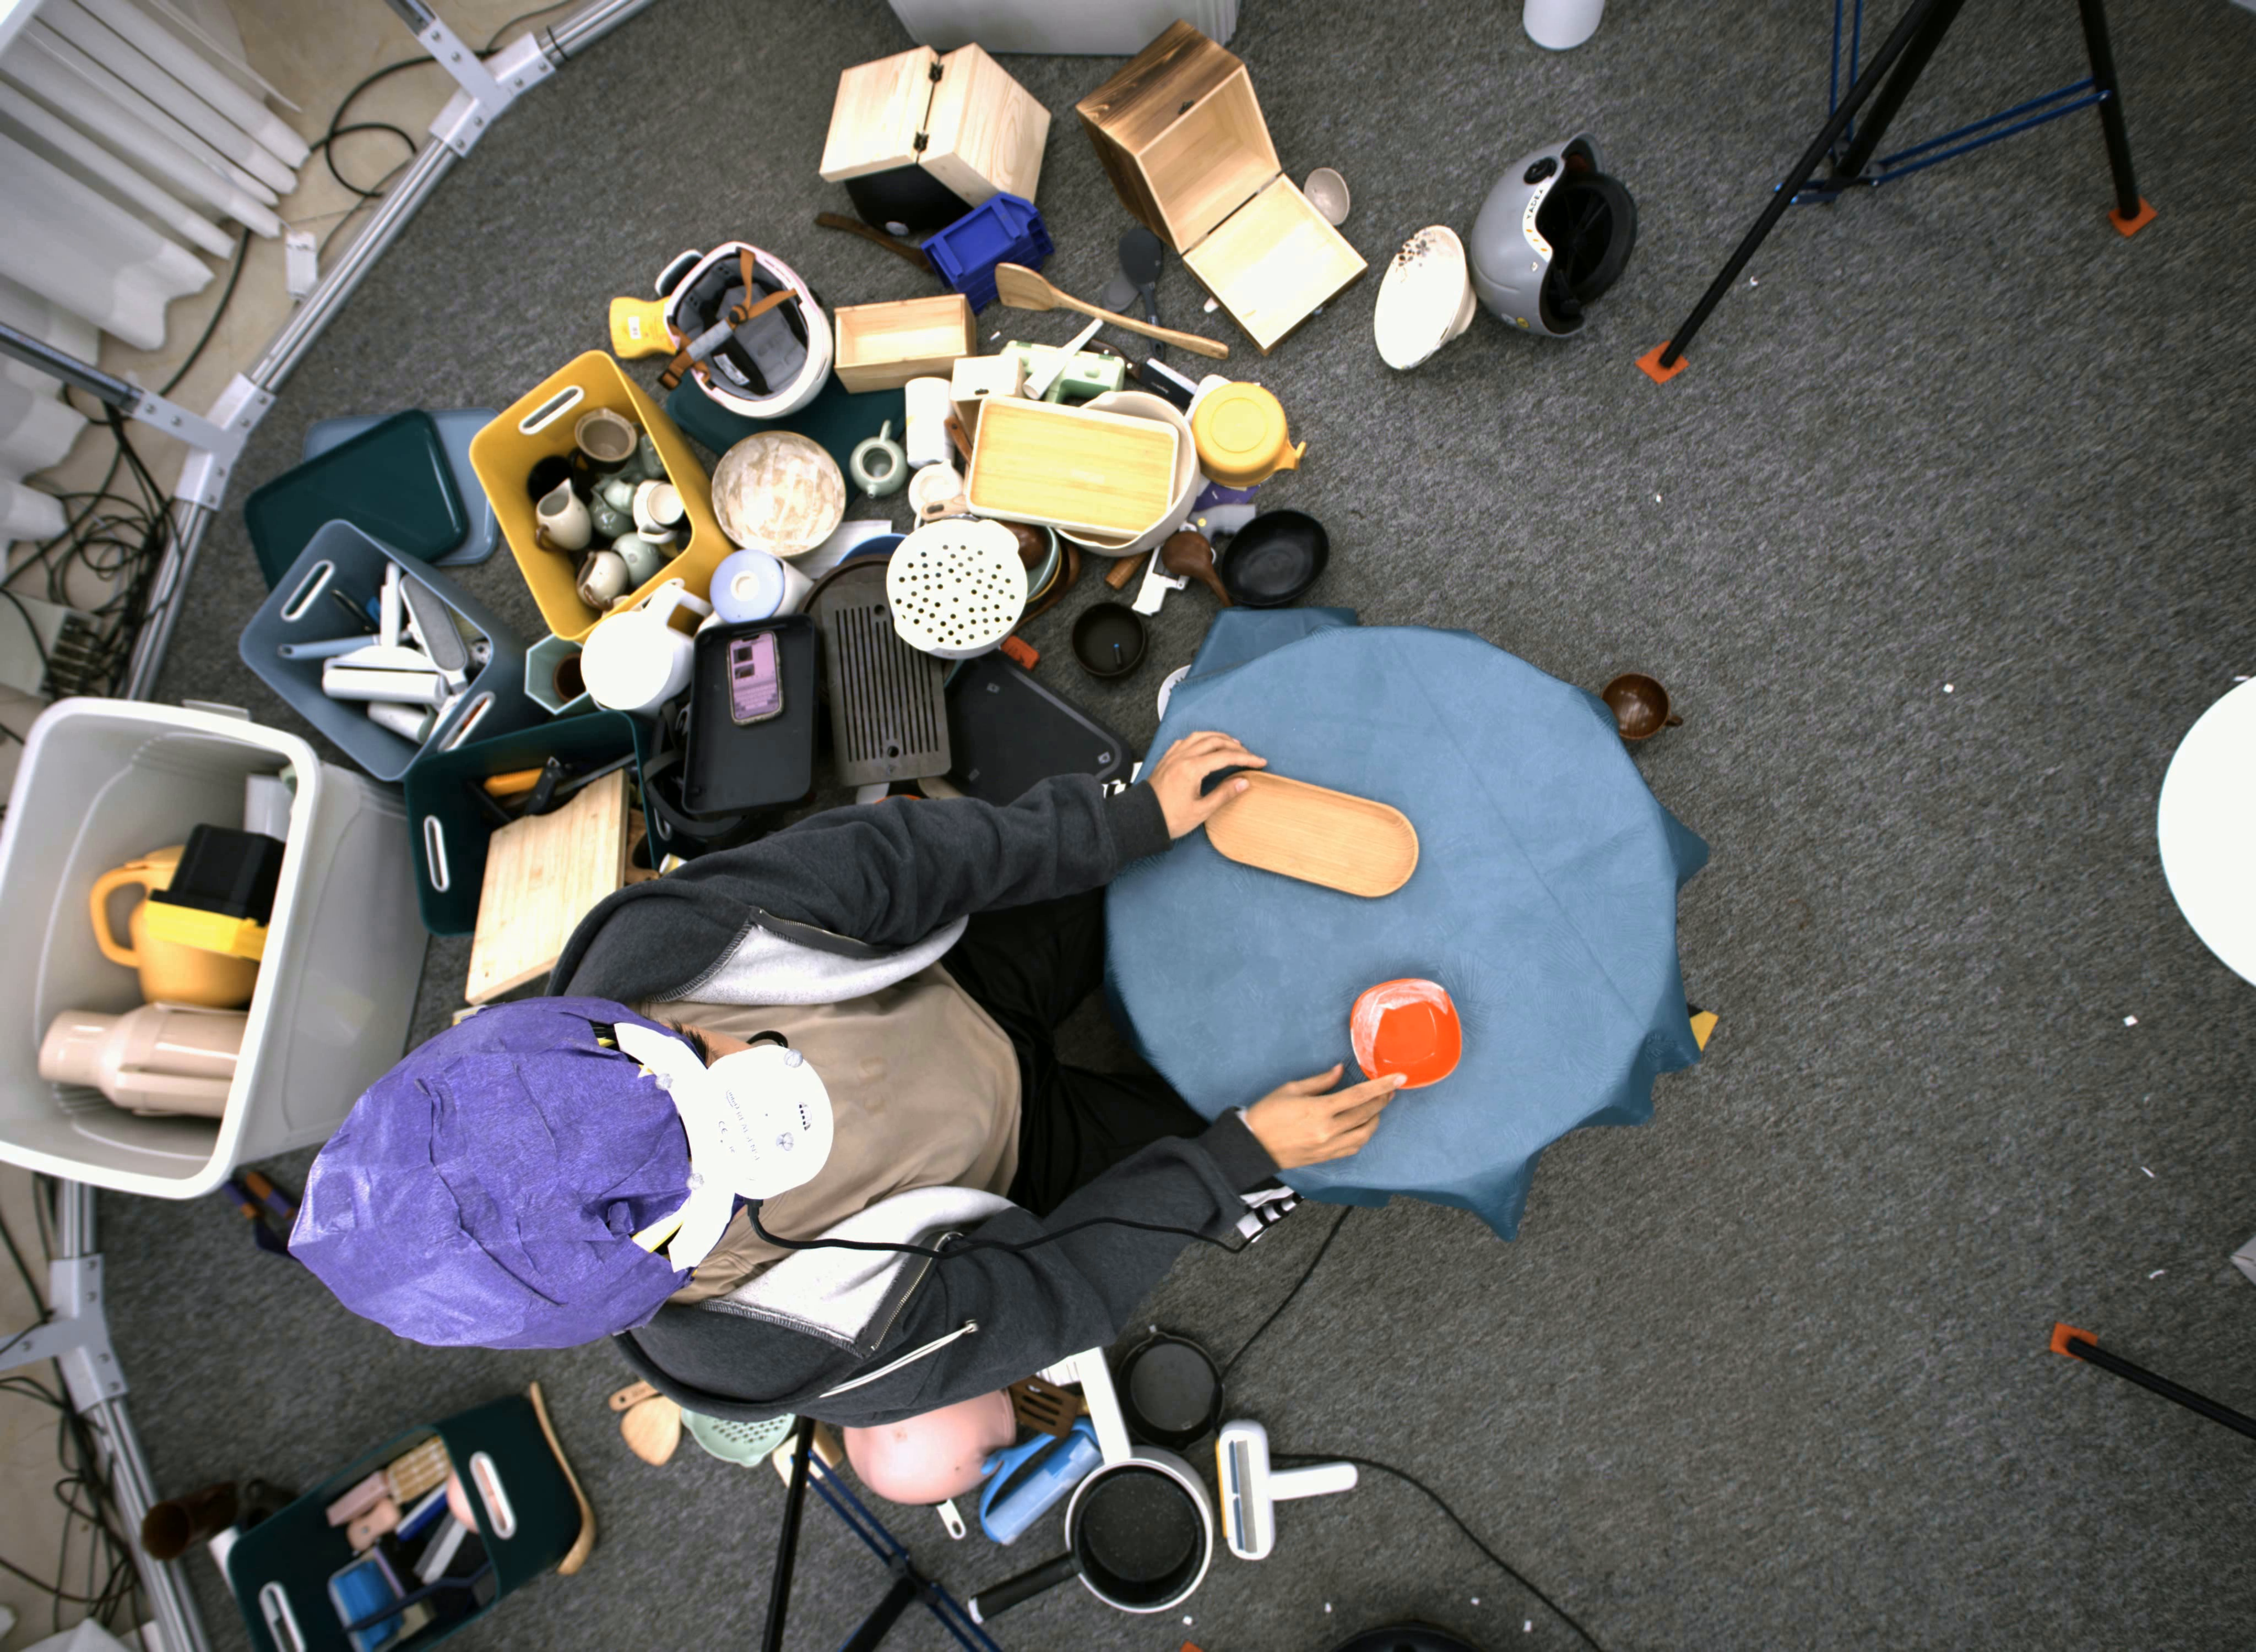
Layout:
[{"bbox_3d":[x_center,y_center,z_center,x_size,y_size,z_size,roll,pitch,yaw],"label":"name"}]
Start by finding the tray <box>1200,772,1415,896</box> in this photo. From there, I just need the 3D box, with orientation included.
[{"bbox_3d":[0.190,0.008,1.469,0.231,0.020,0.101,14,88,12],"label":"tray"}]

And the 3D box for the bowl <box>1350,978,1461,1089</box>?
[{"bbox_3d":[0.284,0.211,1.422,0.119,0.051,0.118,-1,87,9],"label":"bowl"}]
